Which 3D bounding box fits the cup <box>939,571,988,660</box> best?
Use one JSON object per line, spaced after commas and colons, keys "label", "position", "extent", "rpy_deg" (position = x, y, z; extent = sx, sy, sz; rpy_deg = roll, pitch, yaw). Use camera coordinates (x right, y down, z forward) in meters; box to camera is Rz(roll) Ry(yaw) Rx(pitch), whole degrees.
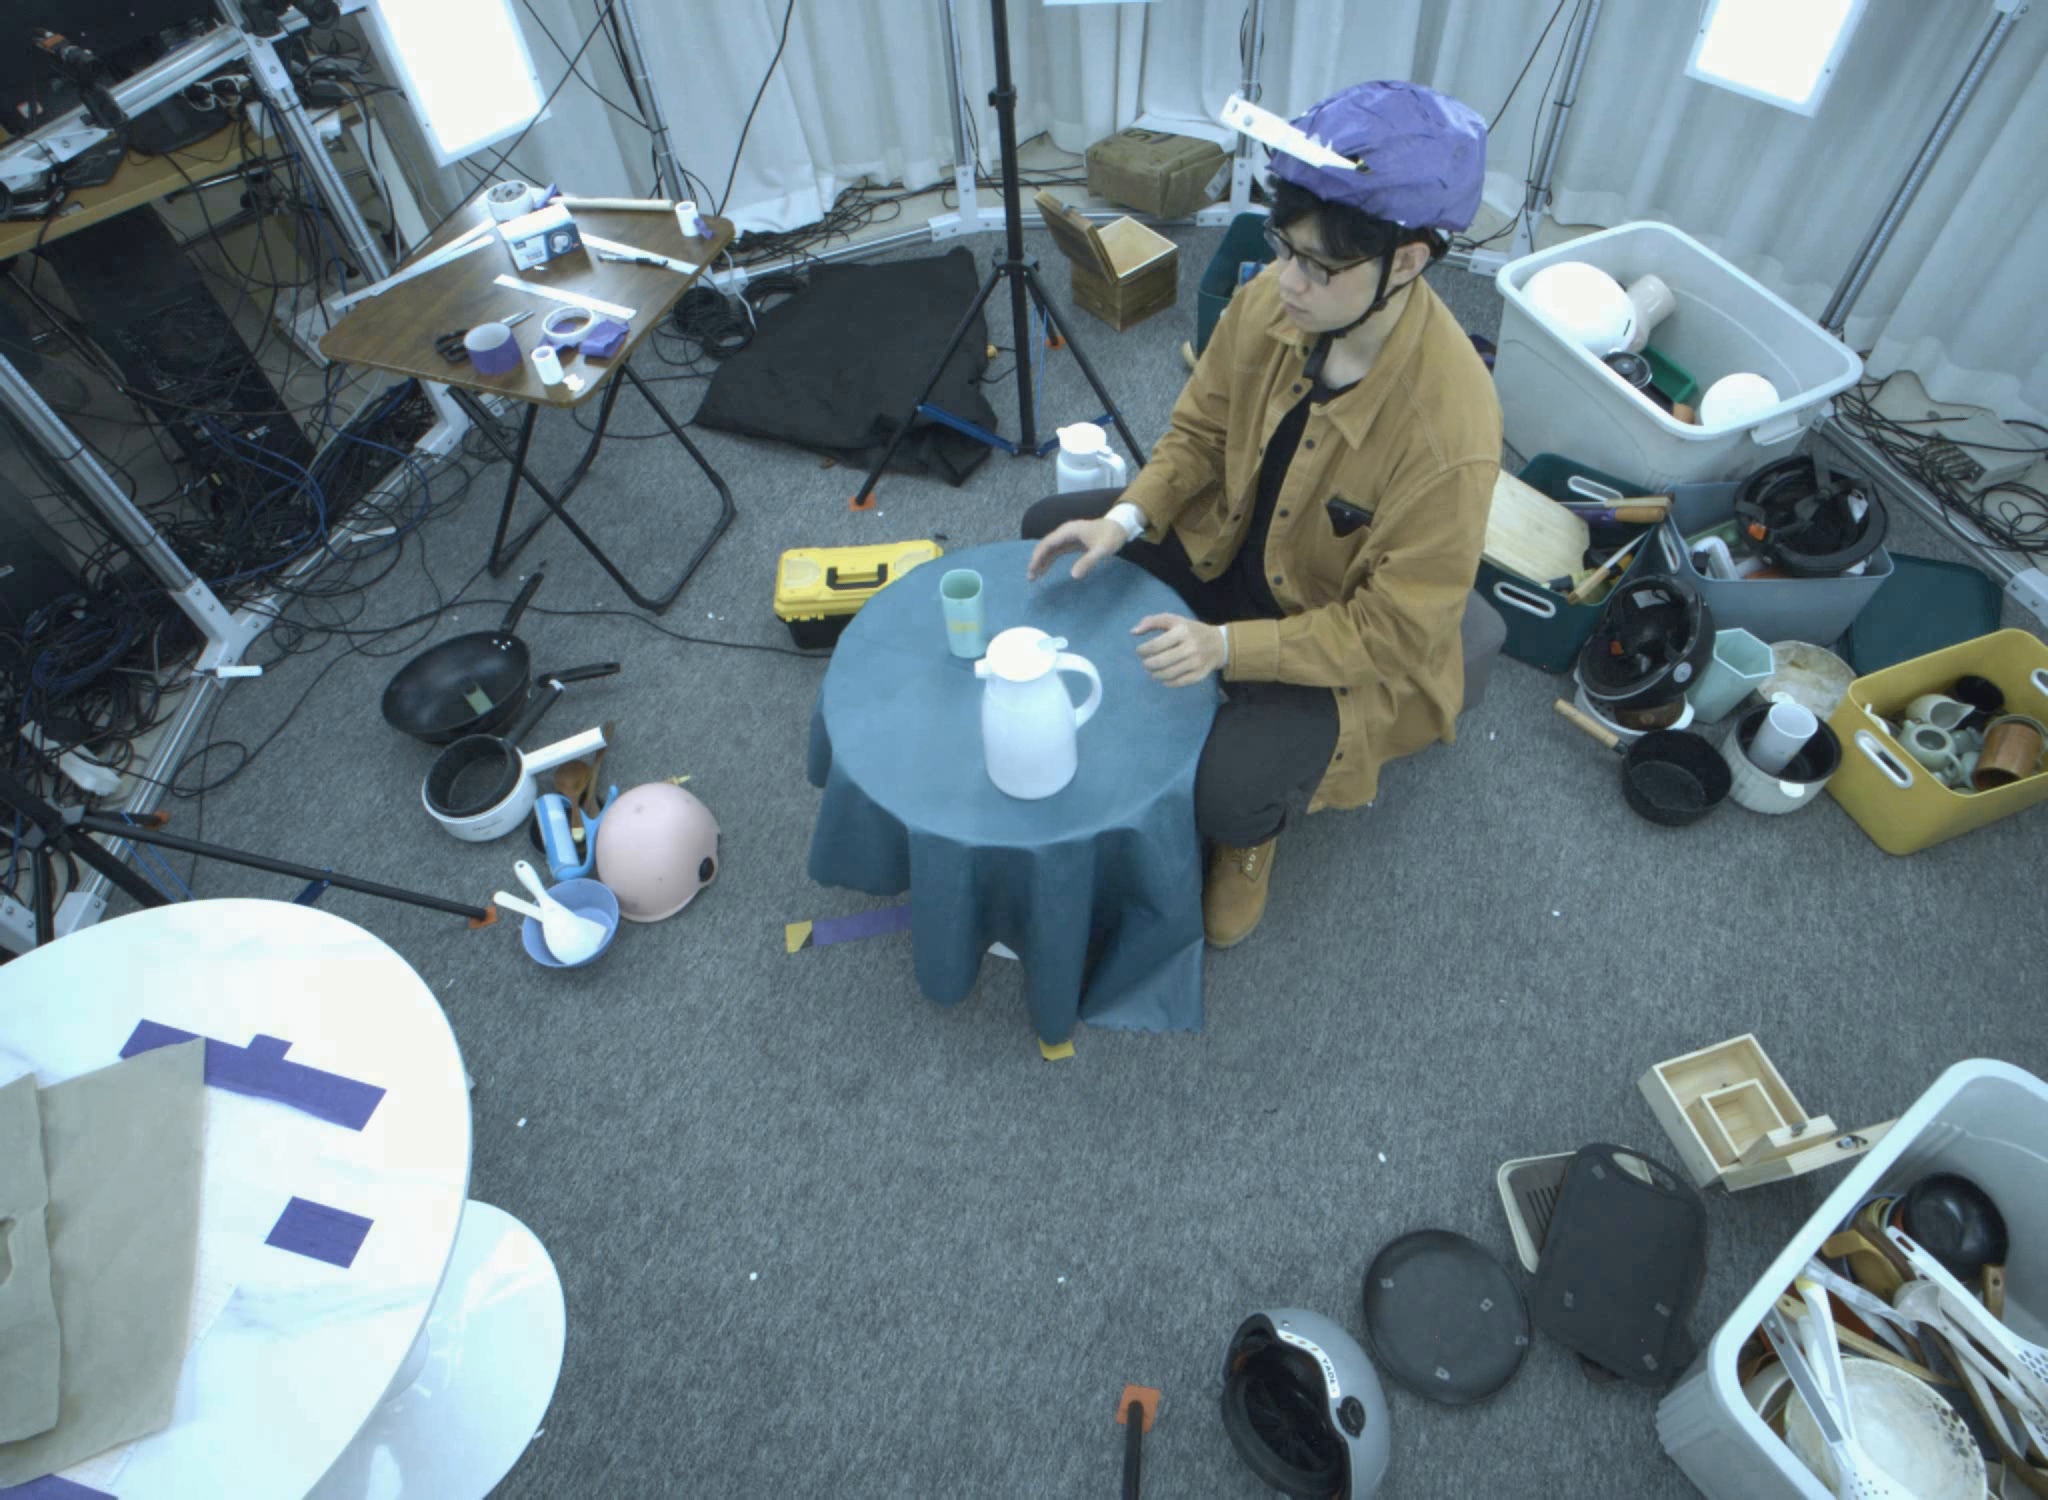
{"label": "cup", "position": [-0.090, -0.203, 1.855], "extent": [0.066, 0.134, 0.066], "rpy_deg": [-1, 54, 3]}

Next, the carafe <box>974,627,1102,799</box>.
{"label": "carafe", "position": [0.022, -0.060, 1.672], "extent": [0.168, 0.251, 0.130], "rpy_deg": [-10, 54, -4]}
